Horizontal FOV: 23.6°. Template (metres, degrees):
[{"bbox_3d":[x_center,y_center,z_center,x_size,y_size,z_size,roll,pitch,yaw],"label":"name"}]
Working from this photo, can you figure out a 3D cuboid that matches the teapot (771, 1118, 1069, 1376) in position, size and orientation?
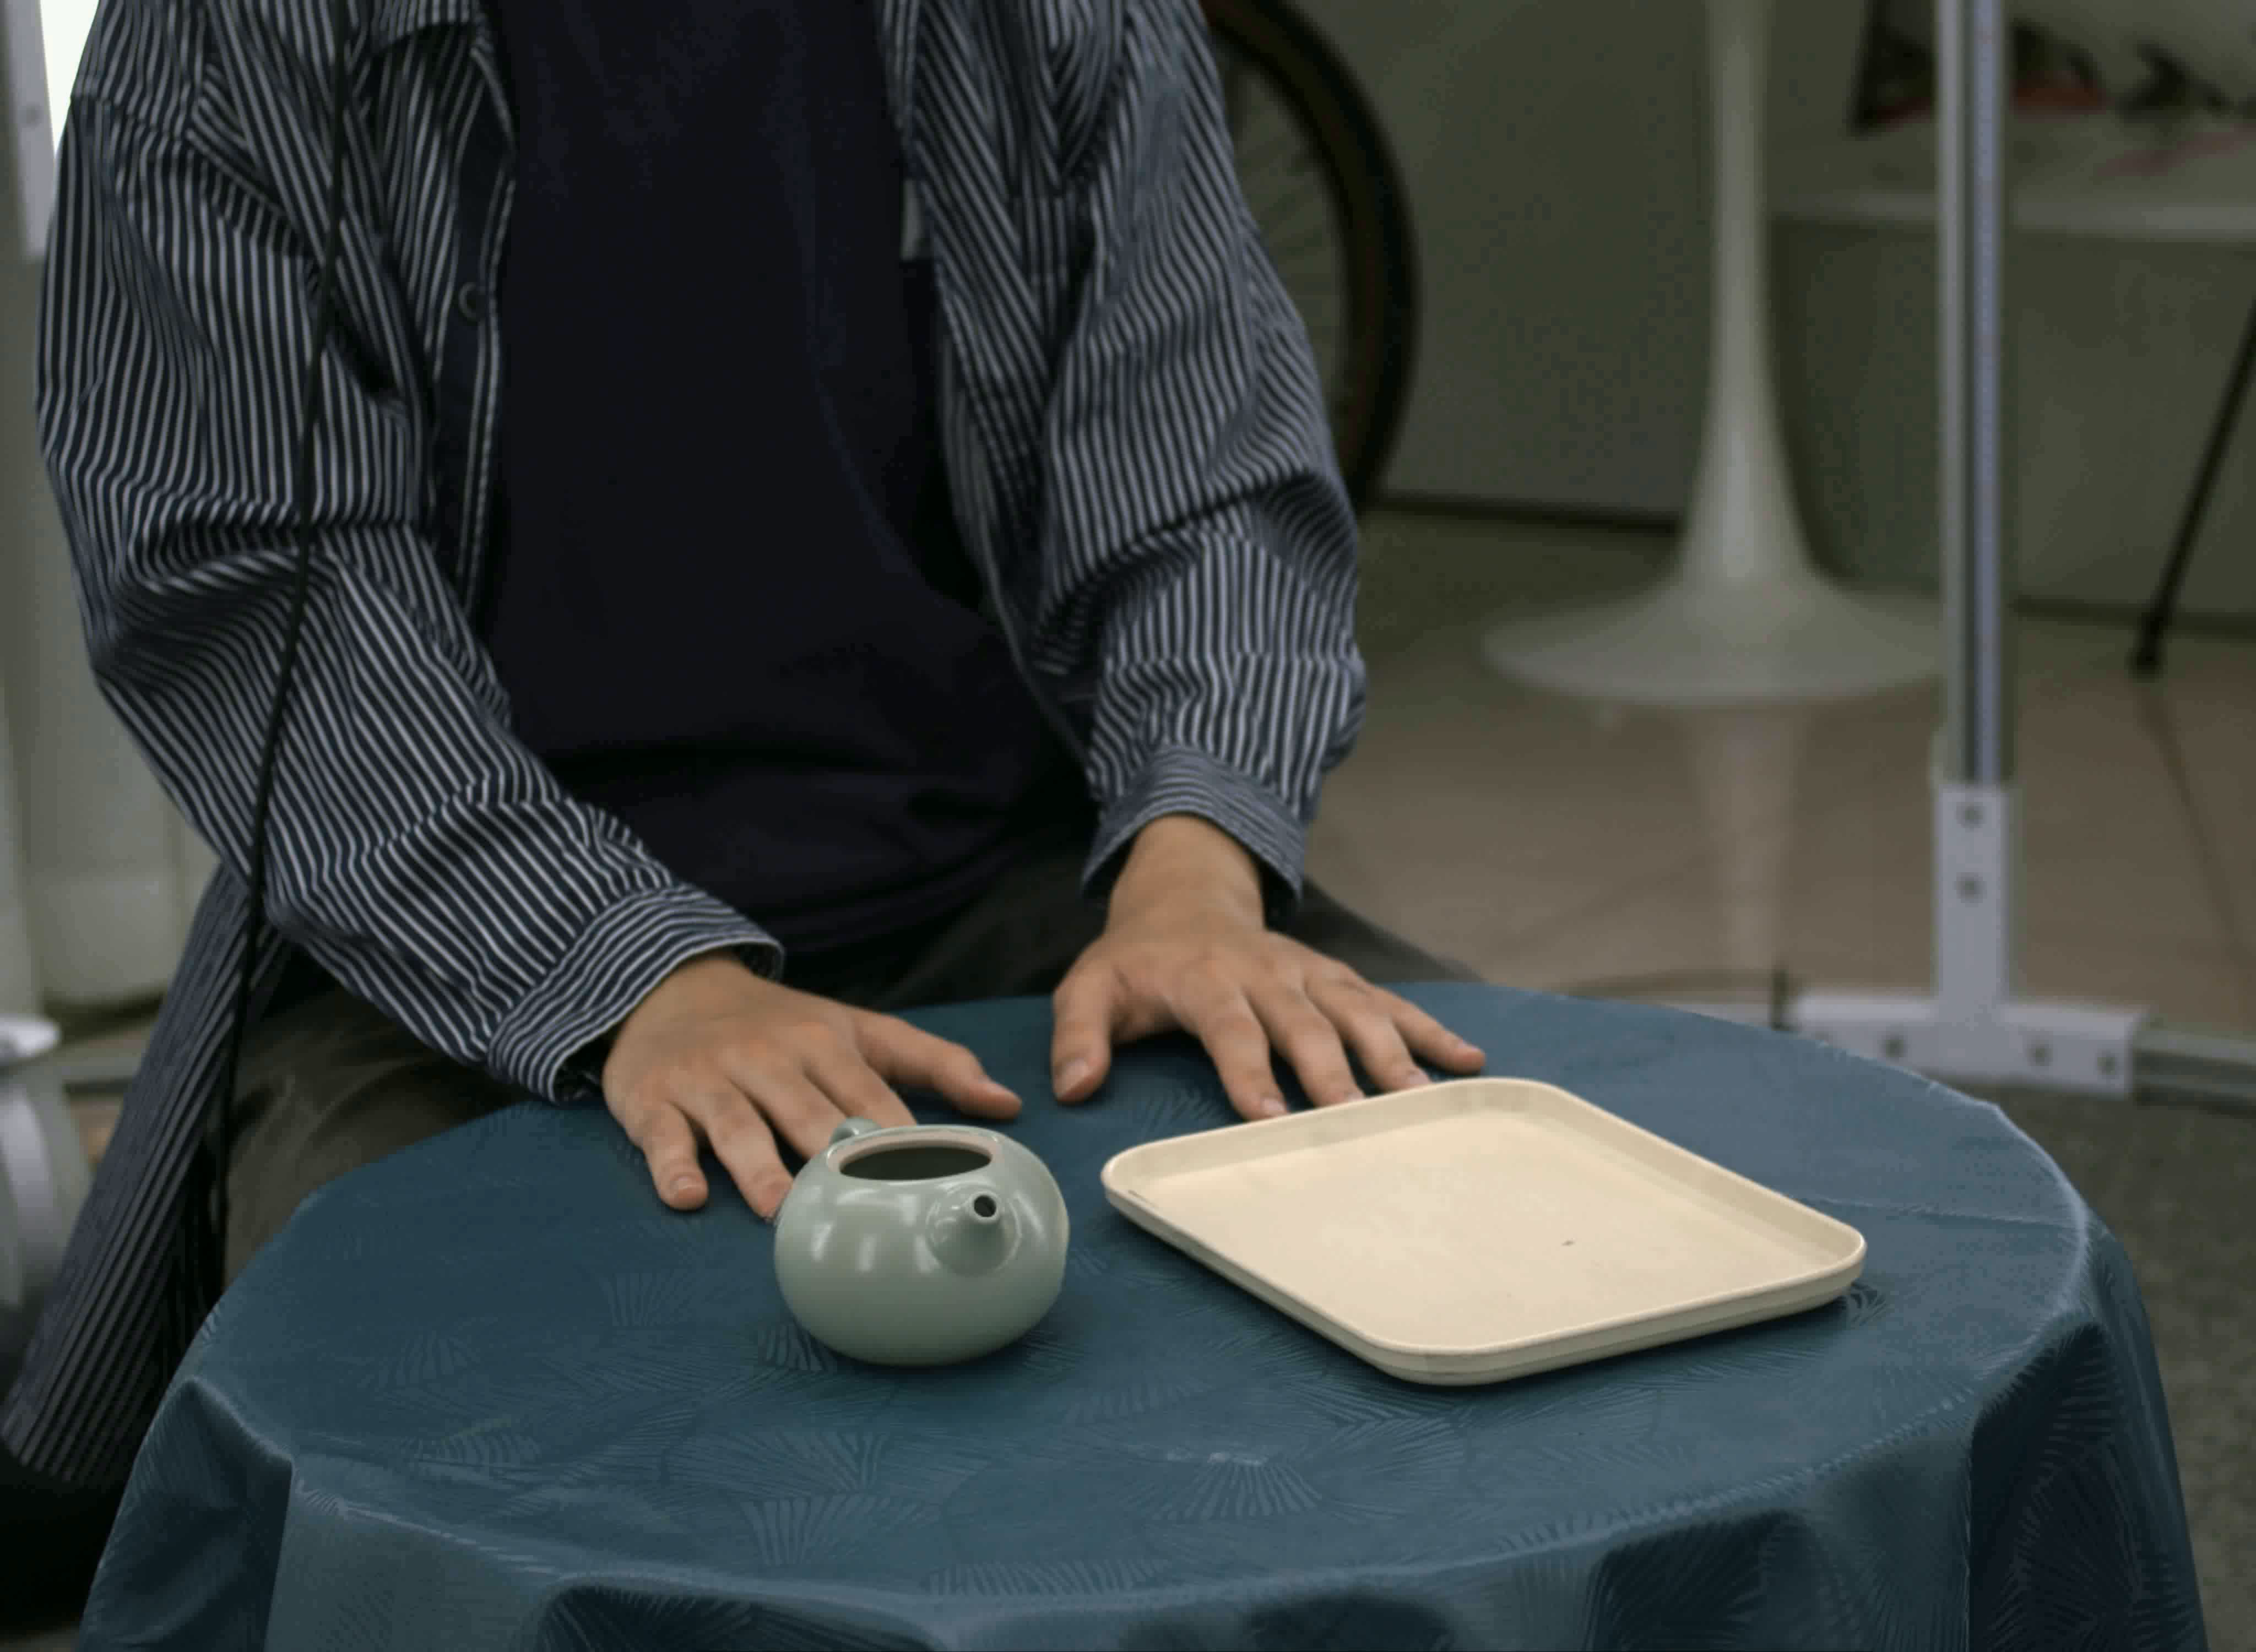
[{"bbox_3d":[-0.066,0.127,1.643,0.089,0.061,0.129,-11,14,-18],"label":"teapot"}]

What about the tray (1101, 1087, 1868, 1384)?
[{"bbox_3d":[0.108,0.126,1.680,0.167,0.017,0.242,-9,14,-23],"label":"tray"}]
